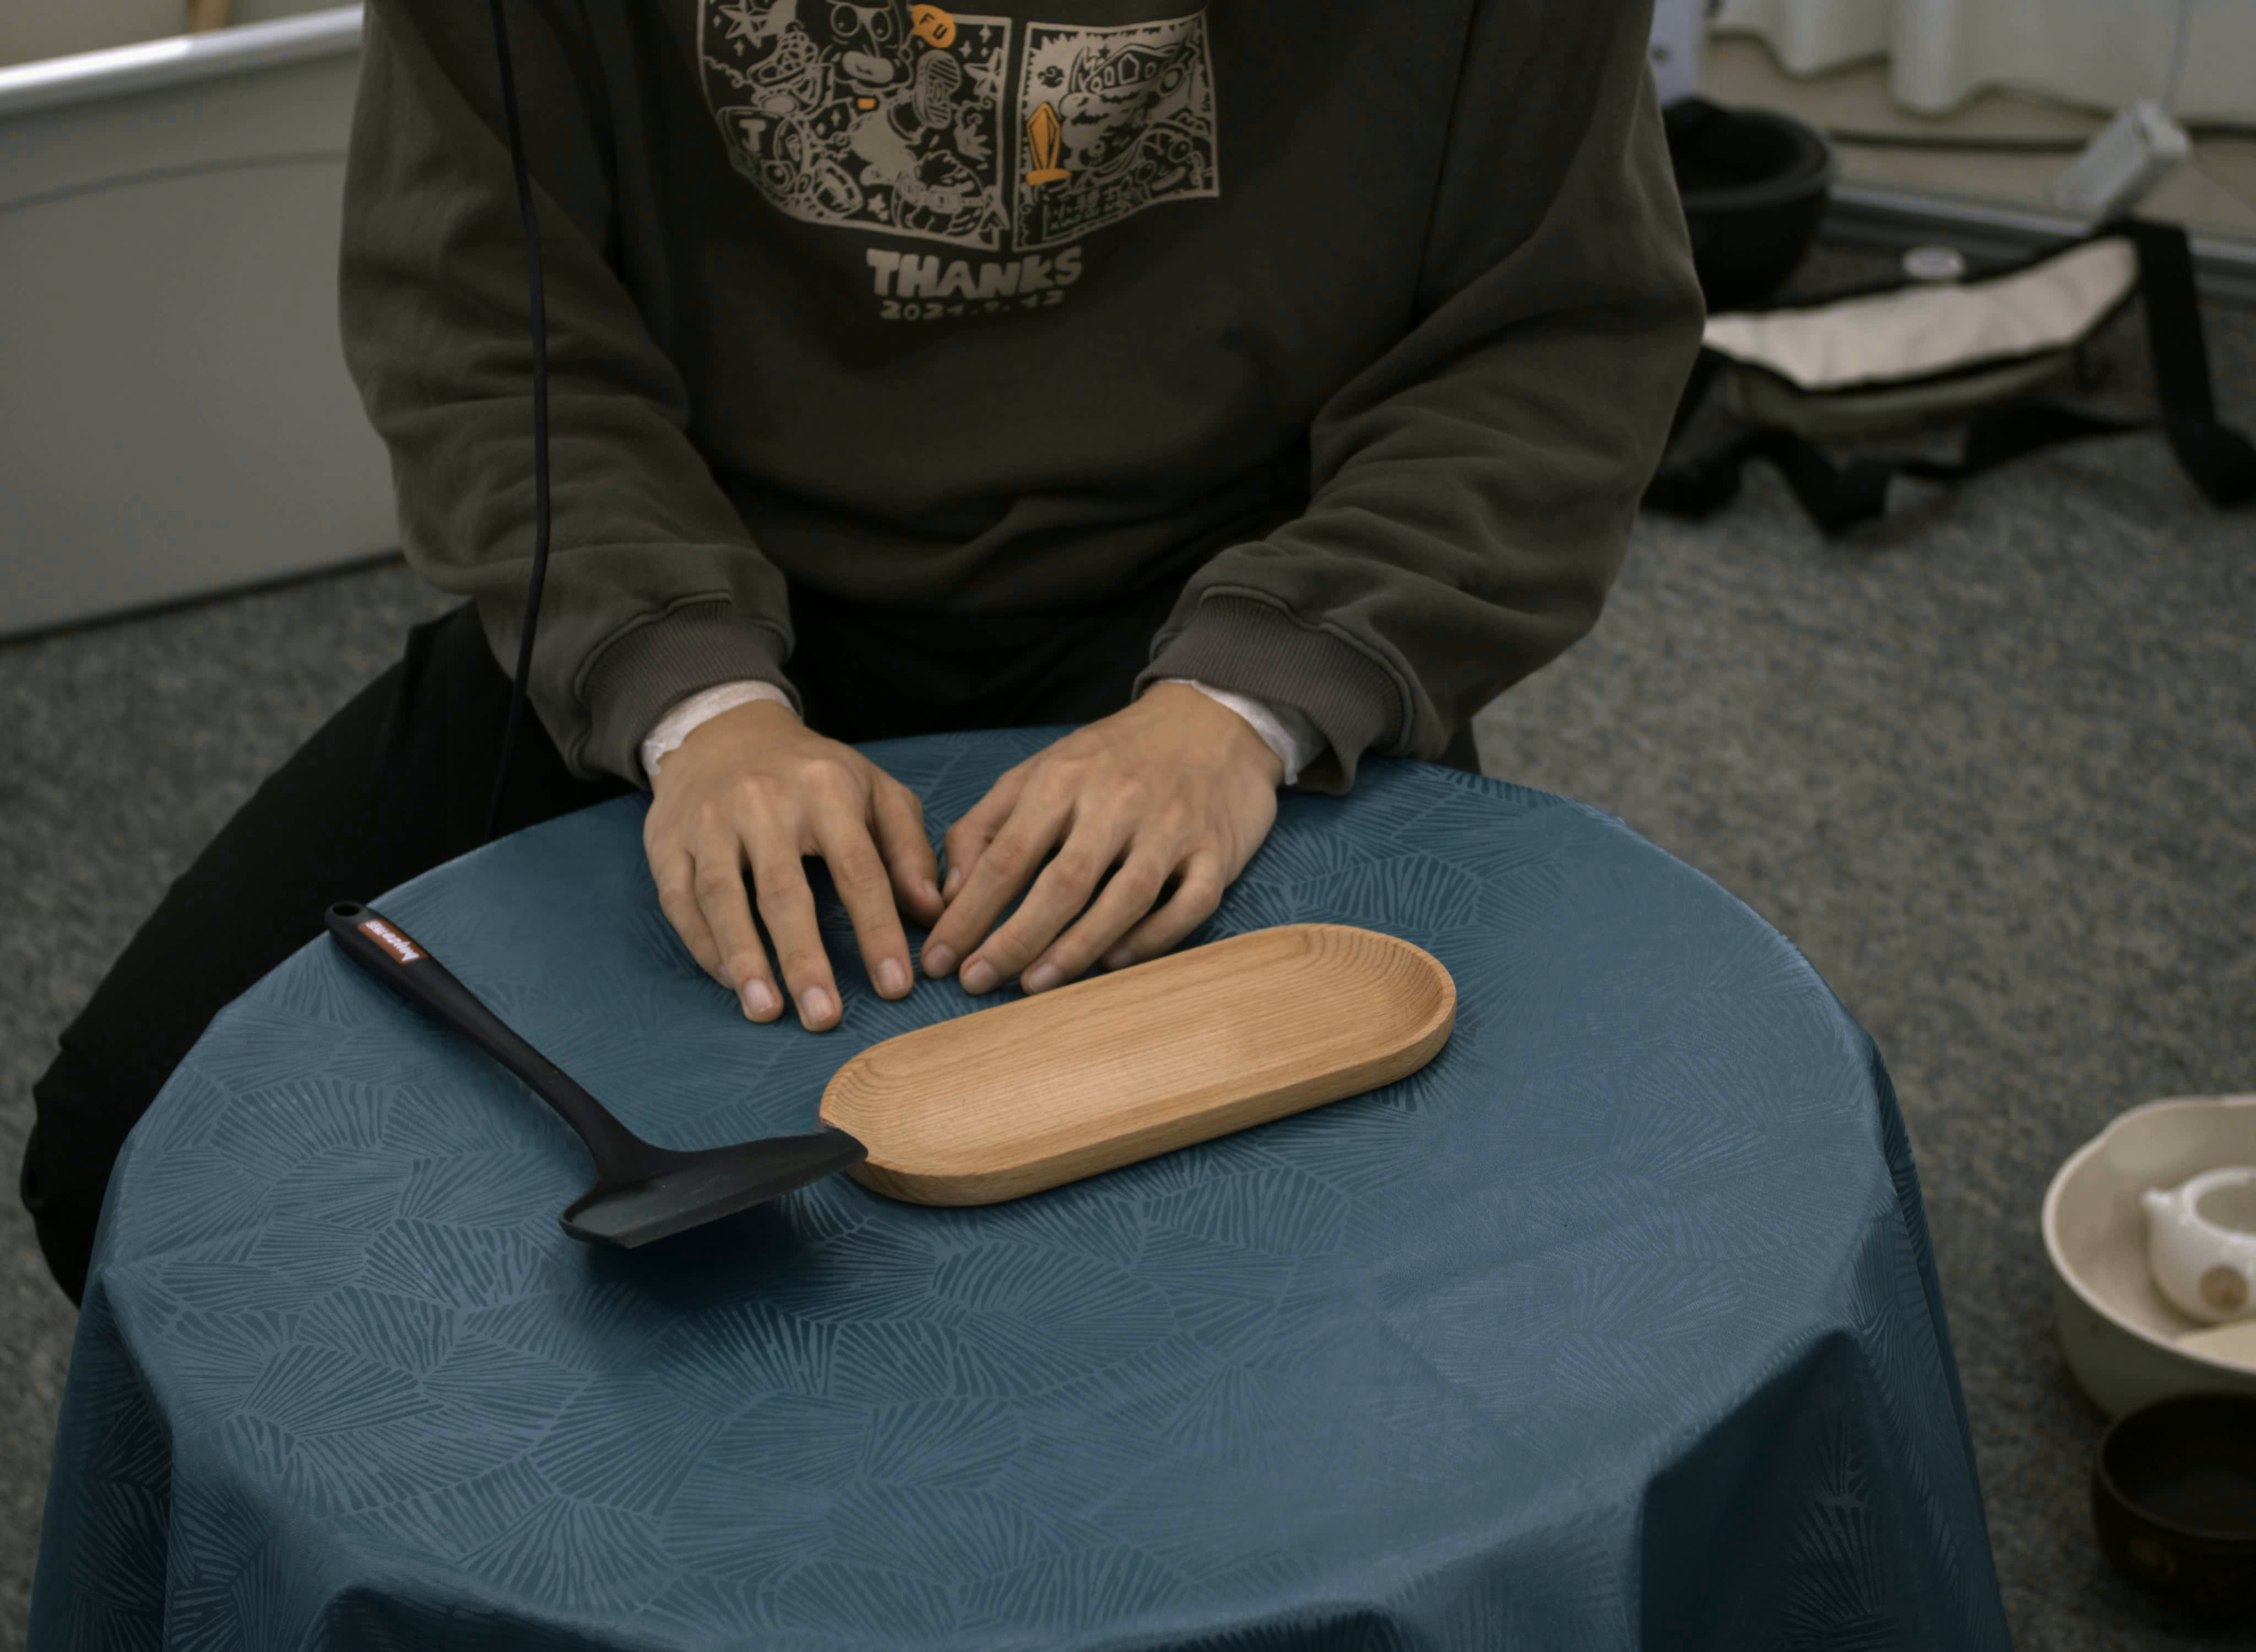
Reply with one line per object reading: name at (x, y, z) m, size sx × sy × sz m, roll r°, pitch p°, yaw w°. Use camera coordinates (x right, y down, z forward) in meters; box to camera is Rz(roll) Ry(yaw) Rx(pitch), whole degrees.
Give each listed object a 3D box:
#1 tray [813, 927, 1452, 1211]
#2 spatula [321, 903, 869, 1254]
tray at (0.003, 0.083, 1.918) m, size 0.232 × 0.020 × 0.102 m, roll -17°, pitch 30°, yaw -22°
spatula at (-0.205, 0.079, 1.924) m, size 0.100 × 0.040 × 0.327 m, roll -17°, pitch 31°, yaw -28°
